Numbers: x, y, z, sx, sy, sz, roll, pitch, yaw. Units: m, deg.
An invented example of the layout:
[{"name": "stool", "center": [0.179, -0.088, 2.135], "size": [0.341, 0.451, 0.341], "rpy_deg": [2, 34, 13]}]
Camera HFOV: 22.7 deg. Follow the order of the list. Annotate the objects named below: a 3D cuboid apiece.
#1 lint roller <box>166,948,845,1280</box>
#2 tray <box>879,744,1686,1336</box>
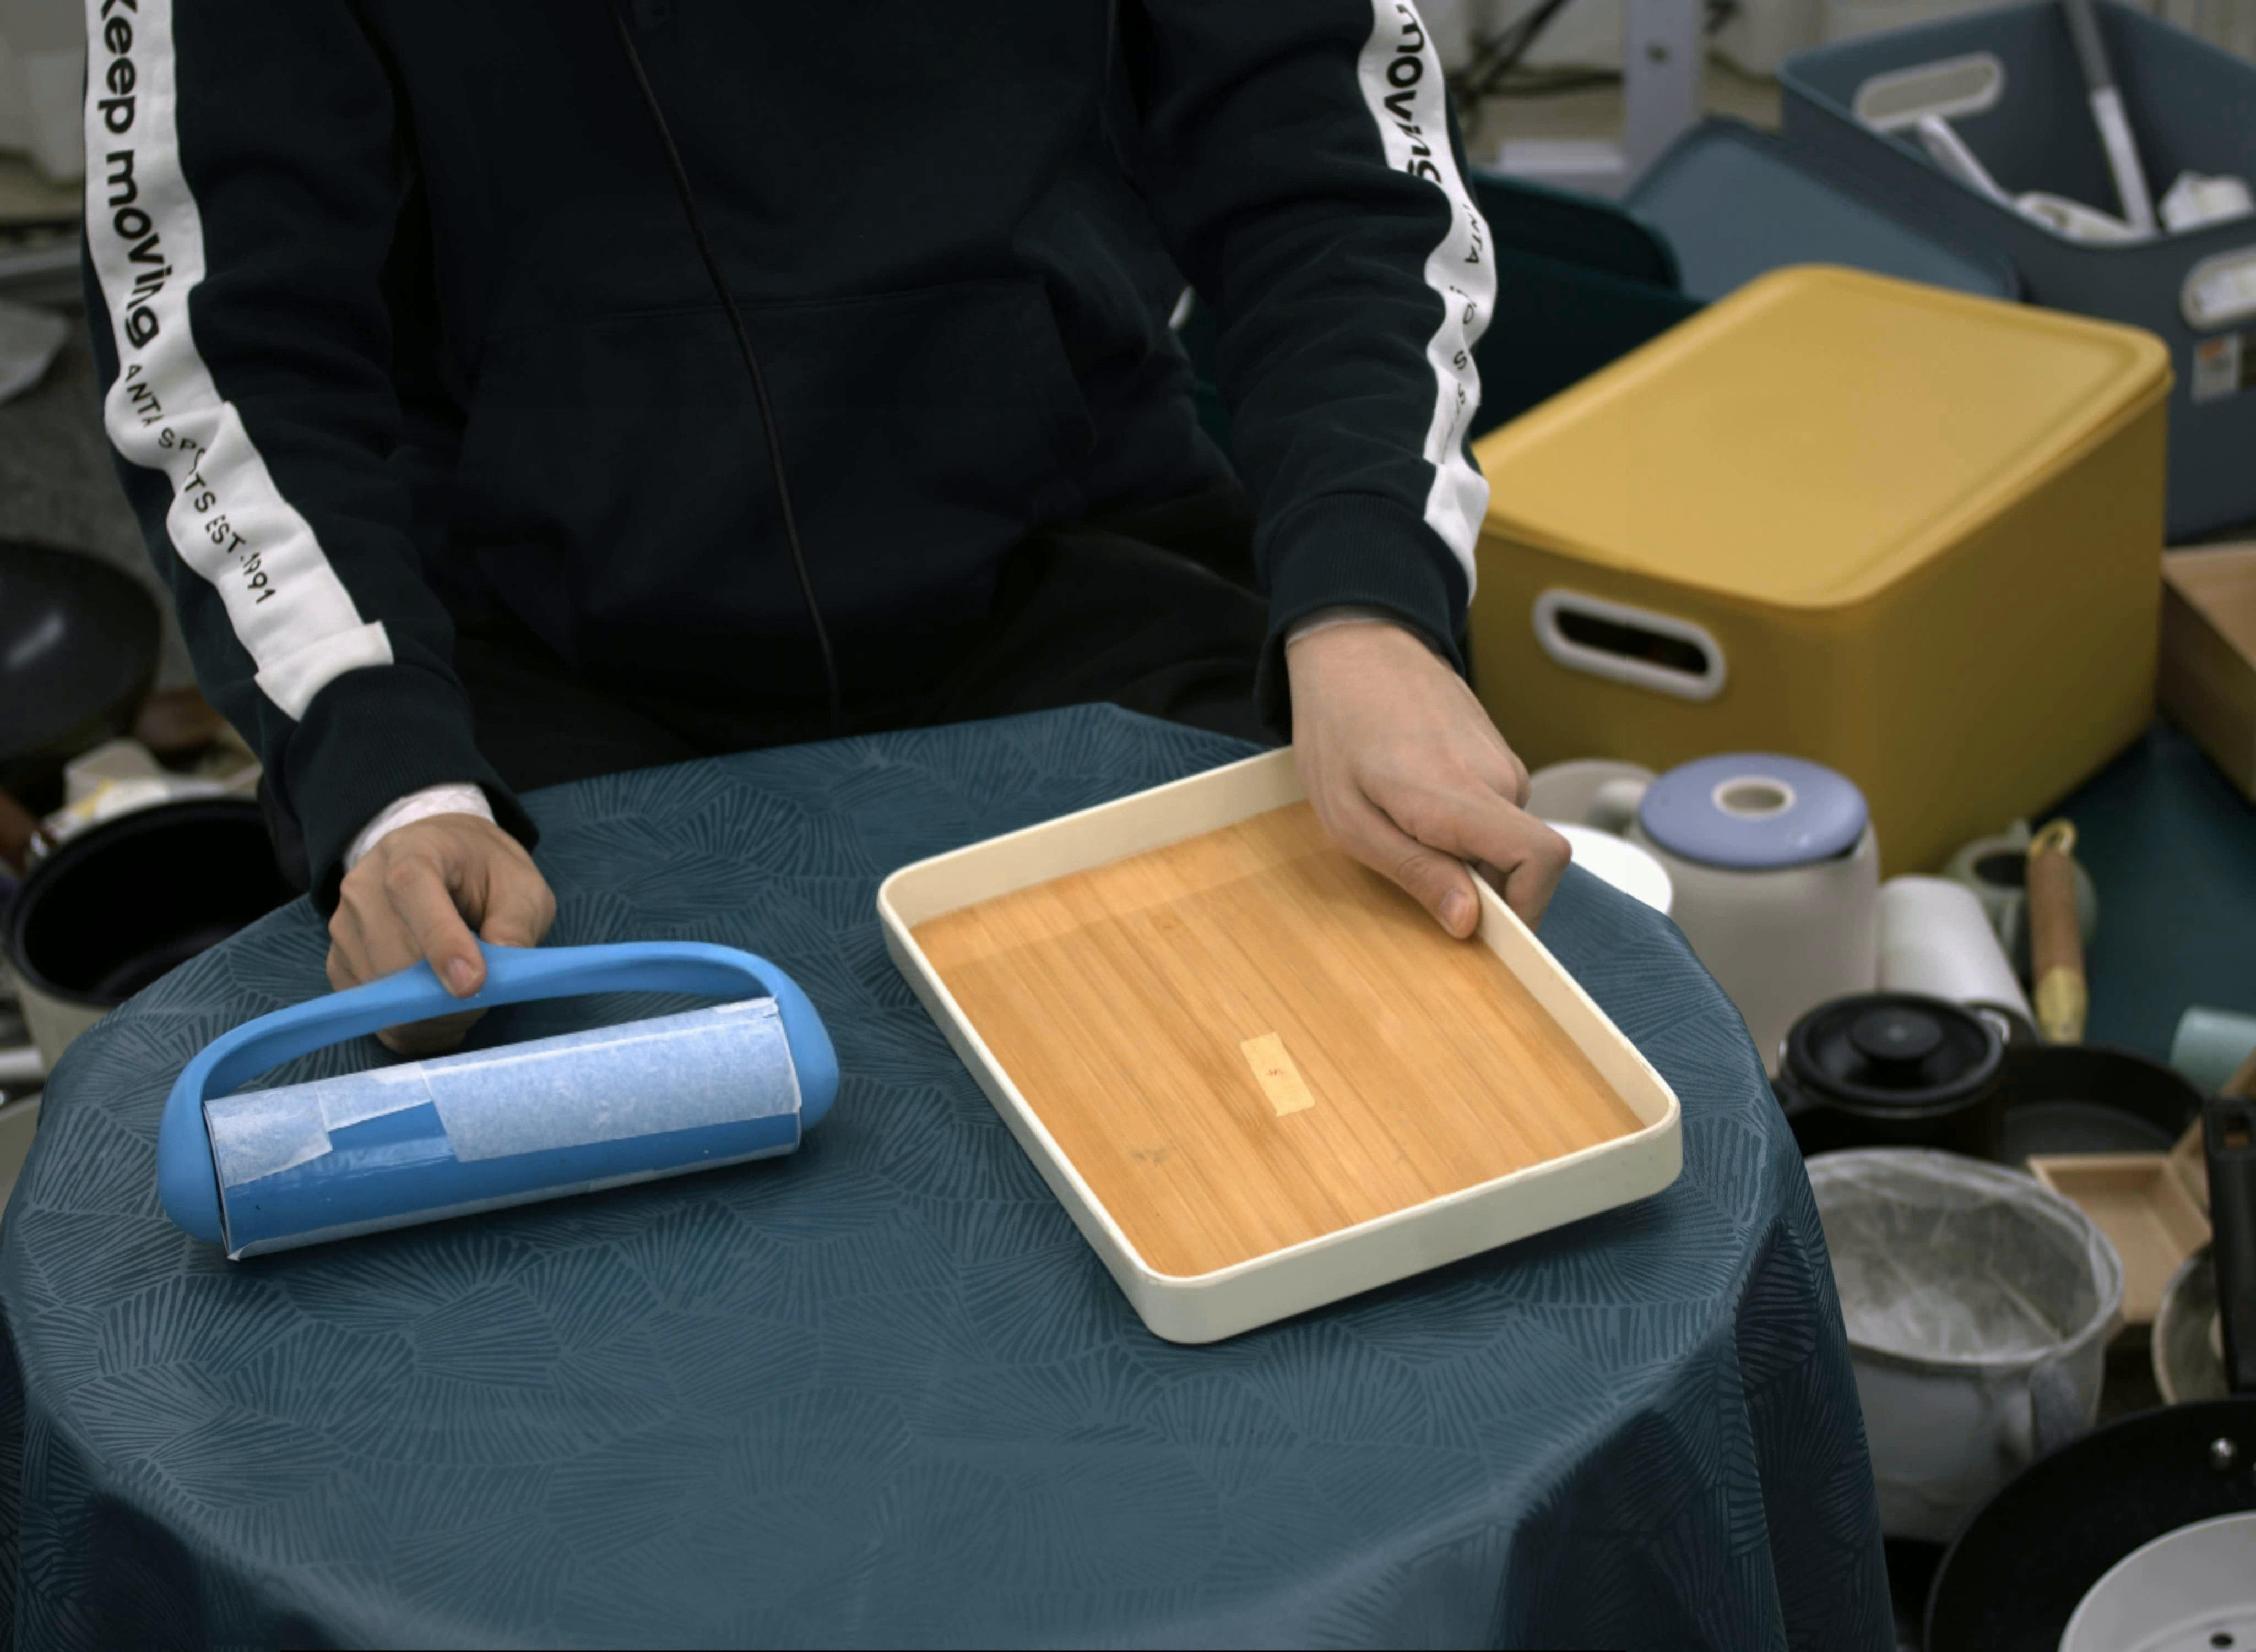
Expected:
[{"name": "lint roller", "center": [-0.225, 0.077, 1.910], "size": [0.229, 0.067, 0.182], "rpy_deg": [-14, 30, -16]}, {"name": "tray", "center": [0.046, 0.067, 1.912], "size": [0.192, 0.027, 0.303], "rpy_deg": [-16, 30, -14]}]
